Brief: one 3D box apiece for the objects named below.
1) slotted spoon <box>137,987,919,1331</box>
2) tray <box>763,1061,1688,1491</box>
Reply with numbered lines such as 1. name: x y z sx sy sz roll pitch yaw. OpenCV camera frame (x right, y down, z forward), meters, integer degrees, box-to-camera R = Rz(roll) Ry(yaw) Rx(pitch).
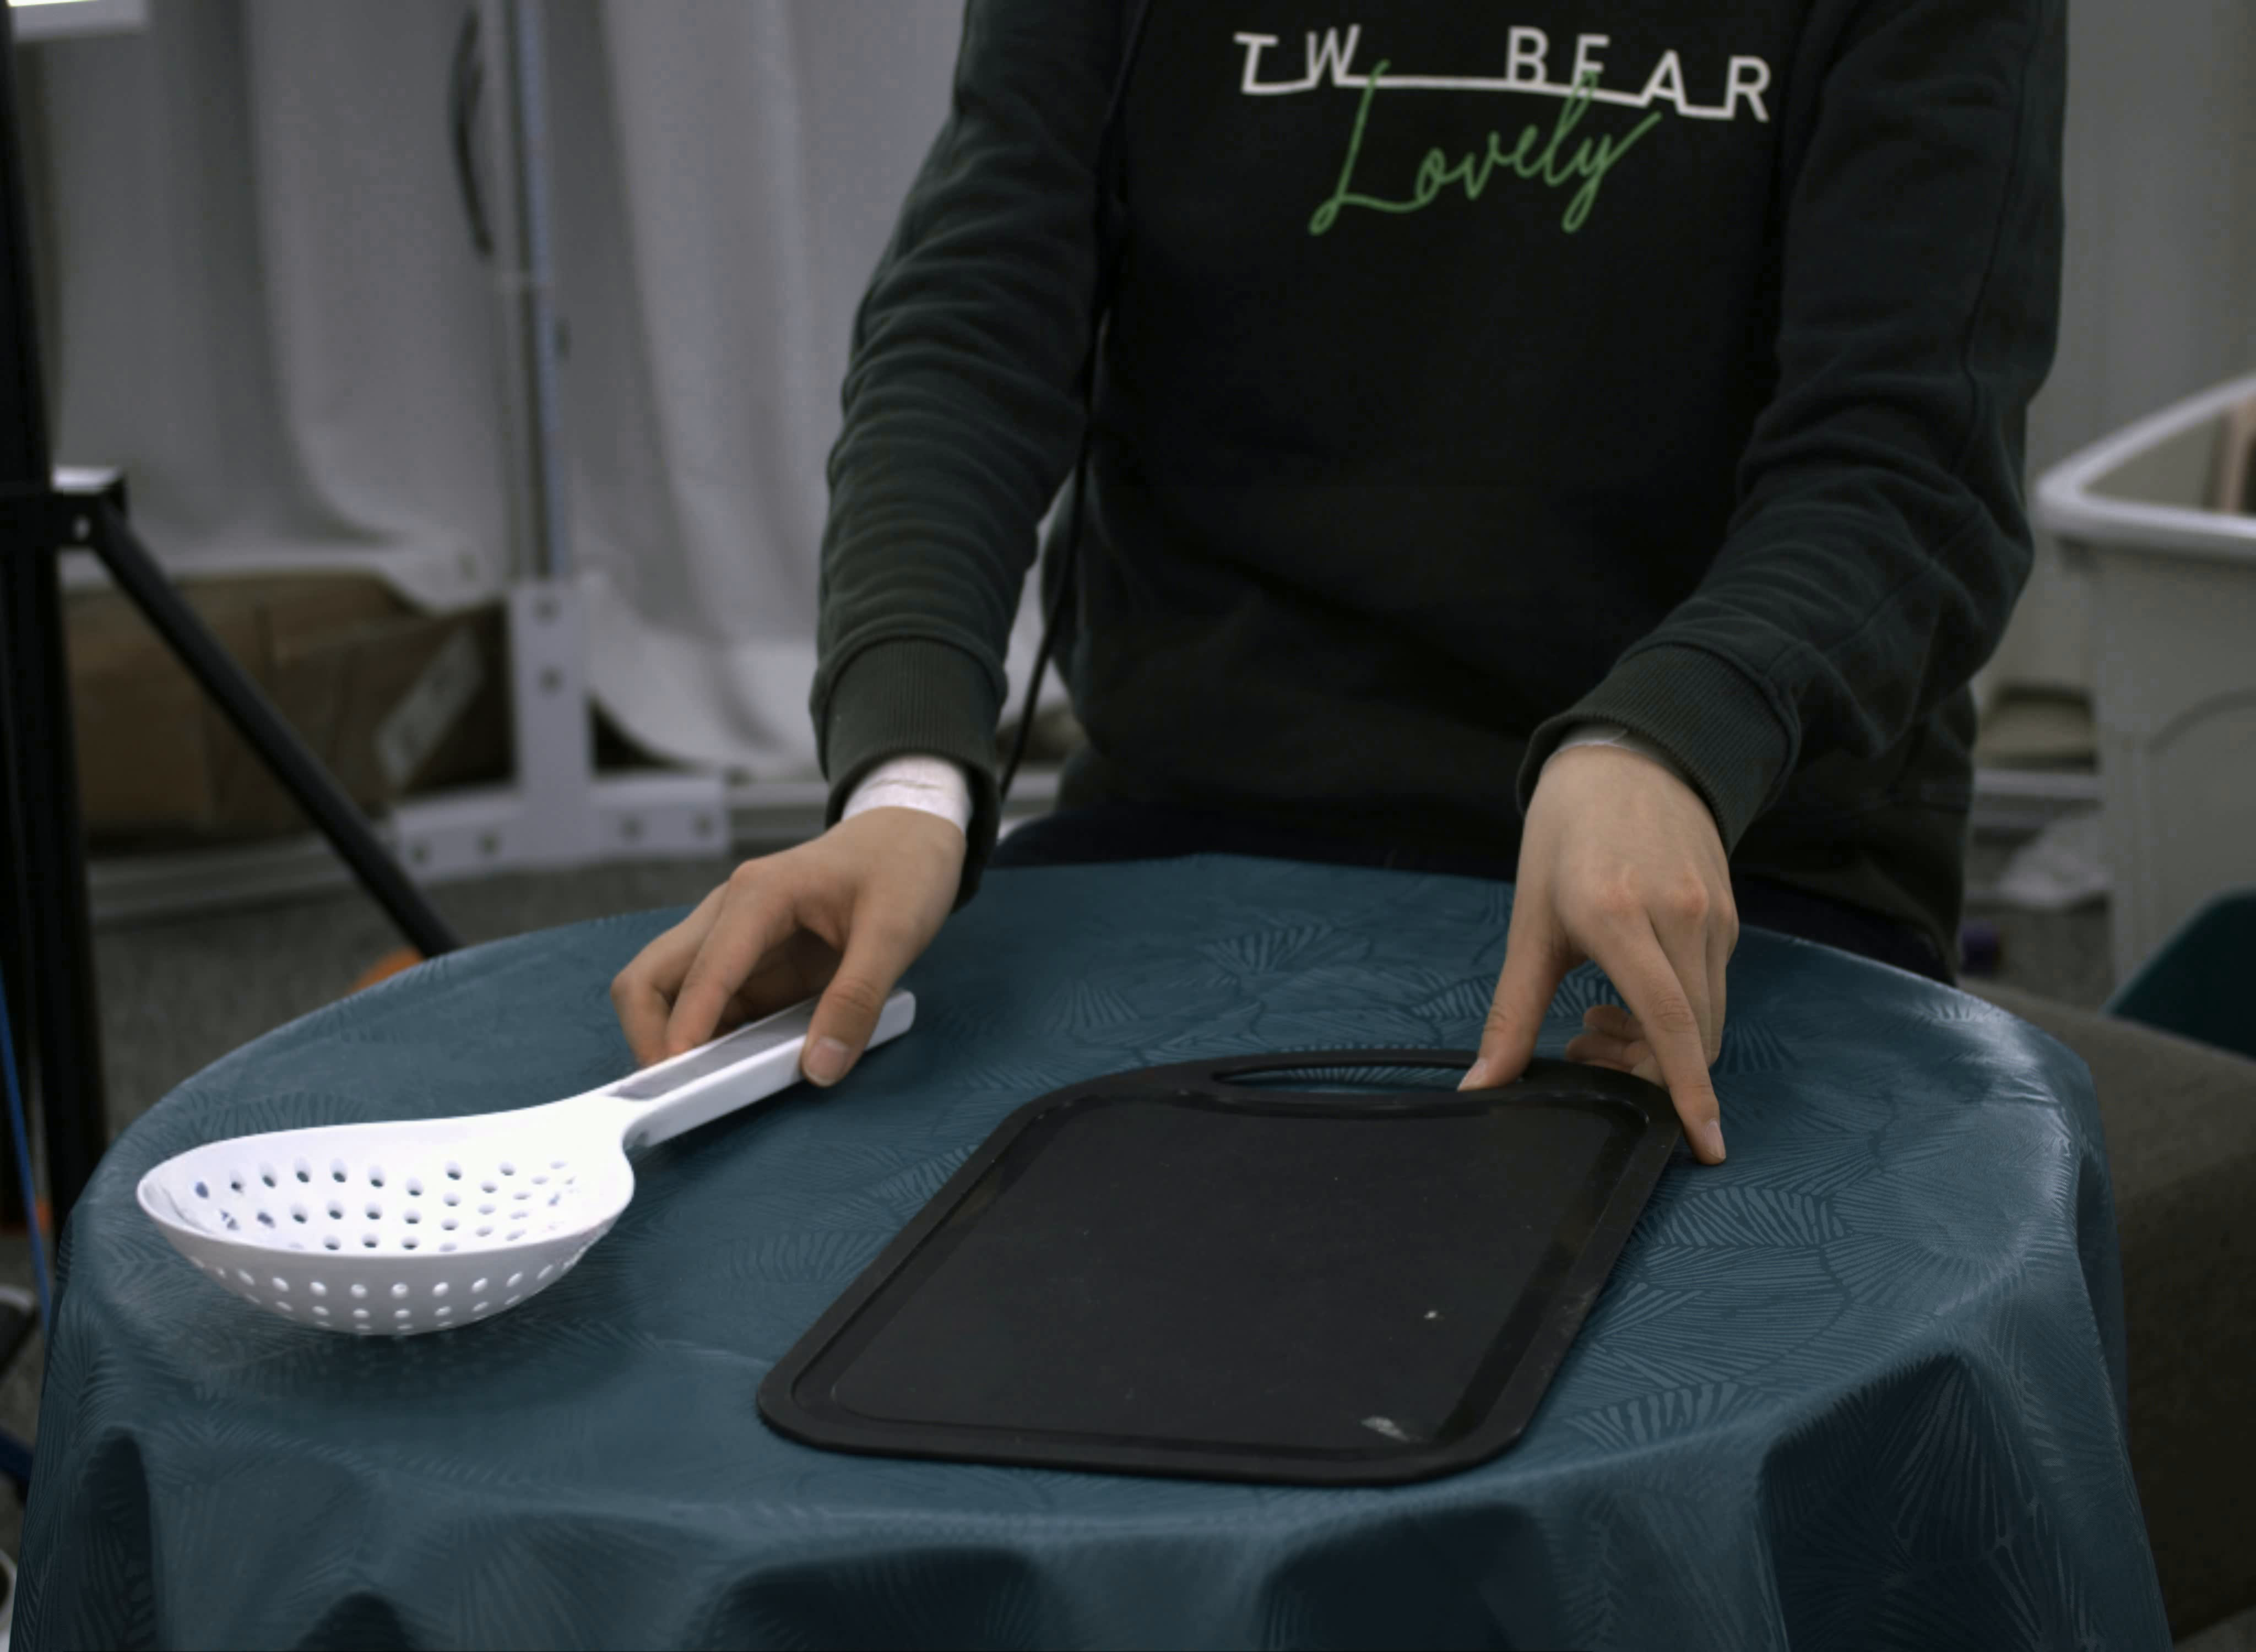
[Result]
1. slotted spoon: -0.157 0.088 1.570 0.138 0.046 0.344 8 18 26
2. tray: 0.036 0.118 1.497 0.213 0.010 0.322 2 17 18
